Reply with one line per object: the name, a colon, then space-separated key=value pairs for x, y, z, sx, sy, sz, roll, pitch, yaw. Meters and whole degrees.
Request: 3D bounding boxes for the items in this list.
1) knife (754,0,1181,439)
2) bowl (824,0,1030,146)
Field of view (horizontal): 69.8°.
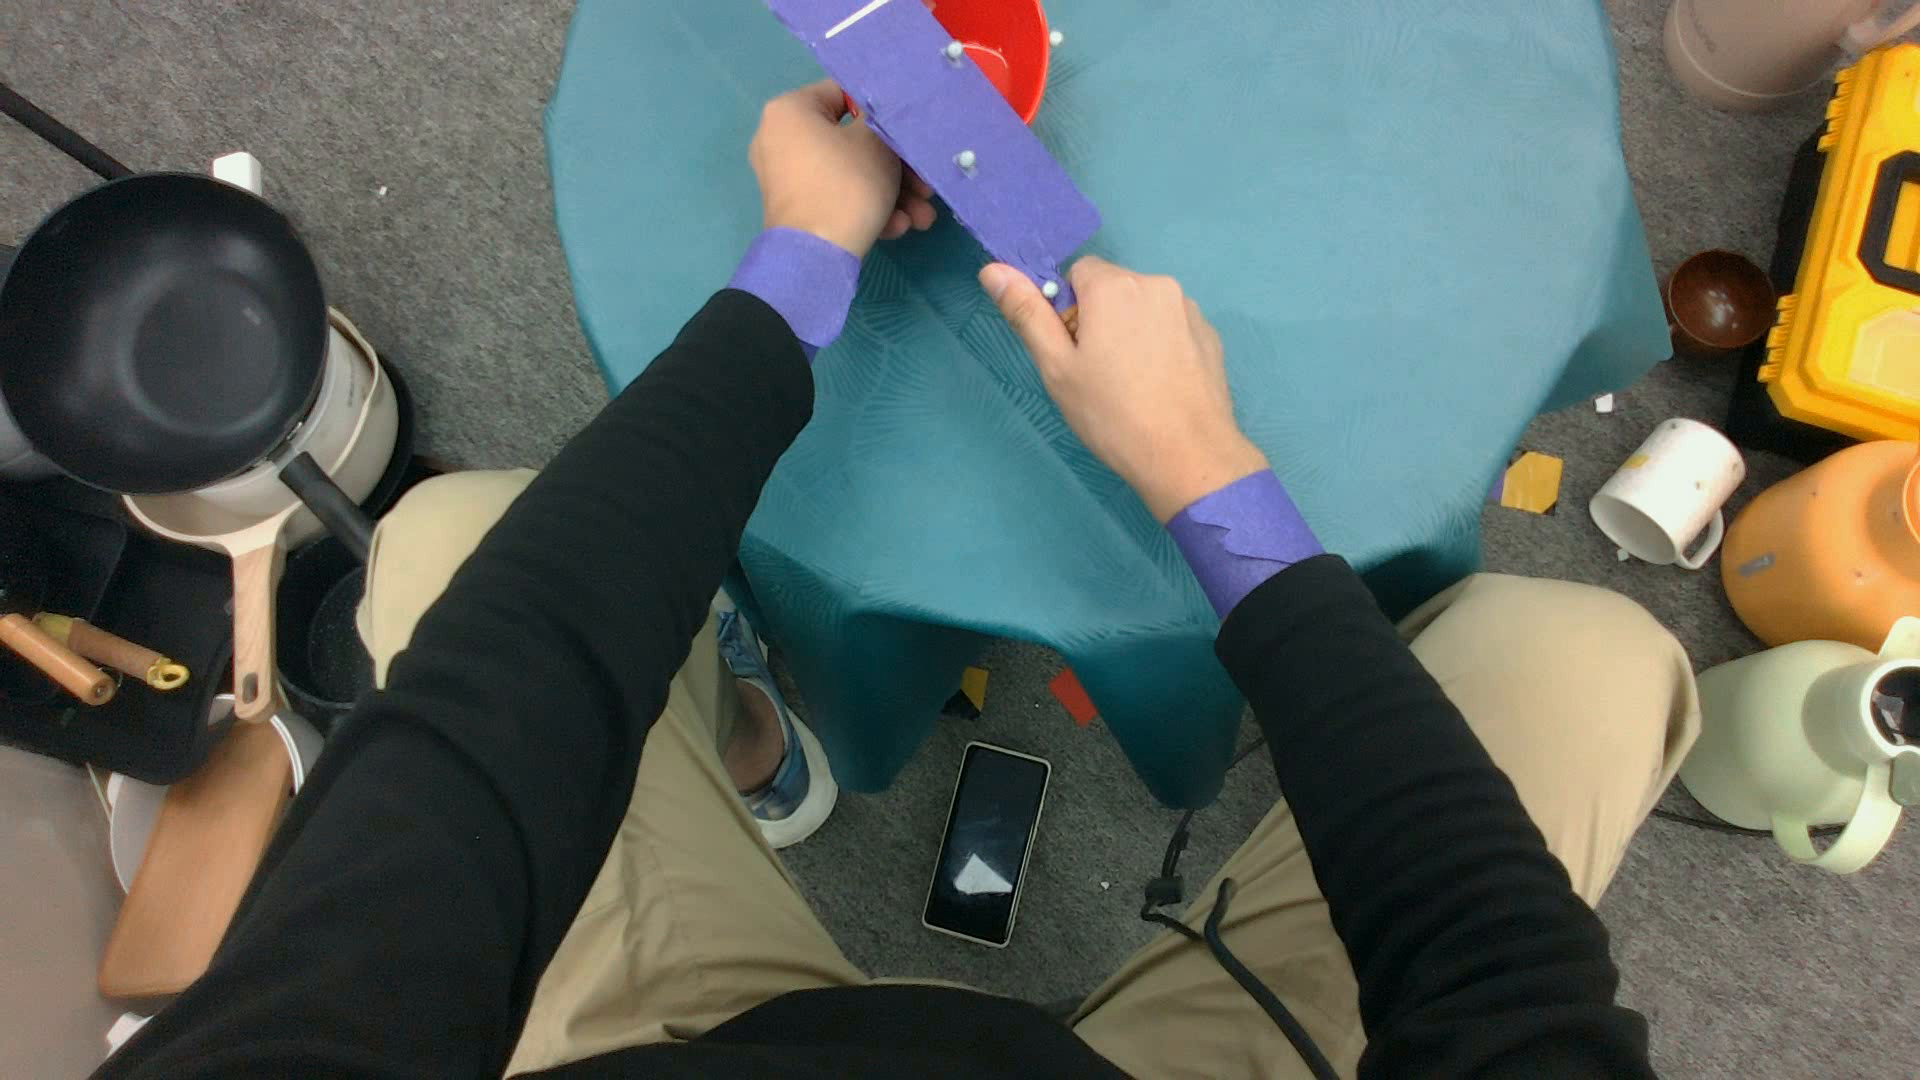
knife: x=0.011 y=-0.190 z=0.688 sx=0.315 sy=0.032 sz=0.104 roll=48 pitch=49 yaw=-8
bowl: x=-0.017 y=-0.259 z=0.755 sx=0.119 sy=0.051 sz=0.119 roll=-1 pitch=76 yaw=3
